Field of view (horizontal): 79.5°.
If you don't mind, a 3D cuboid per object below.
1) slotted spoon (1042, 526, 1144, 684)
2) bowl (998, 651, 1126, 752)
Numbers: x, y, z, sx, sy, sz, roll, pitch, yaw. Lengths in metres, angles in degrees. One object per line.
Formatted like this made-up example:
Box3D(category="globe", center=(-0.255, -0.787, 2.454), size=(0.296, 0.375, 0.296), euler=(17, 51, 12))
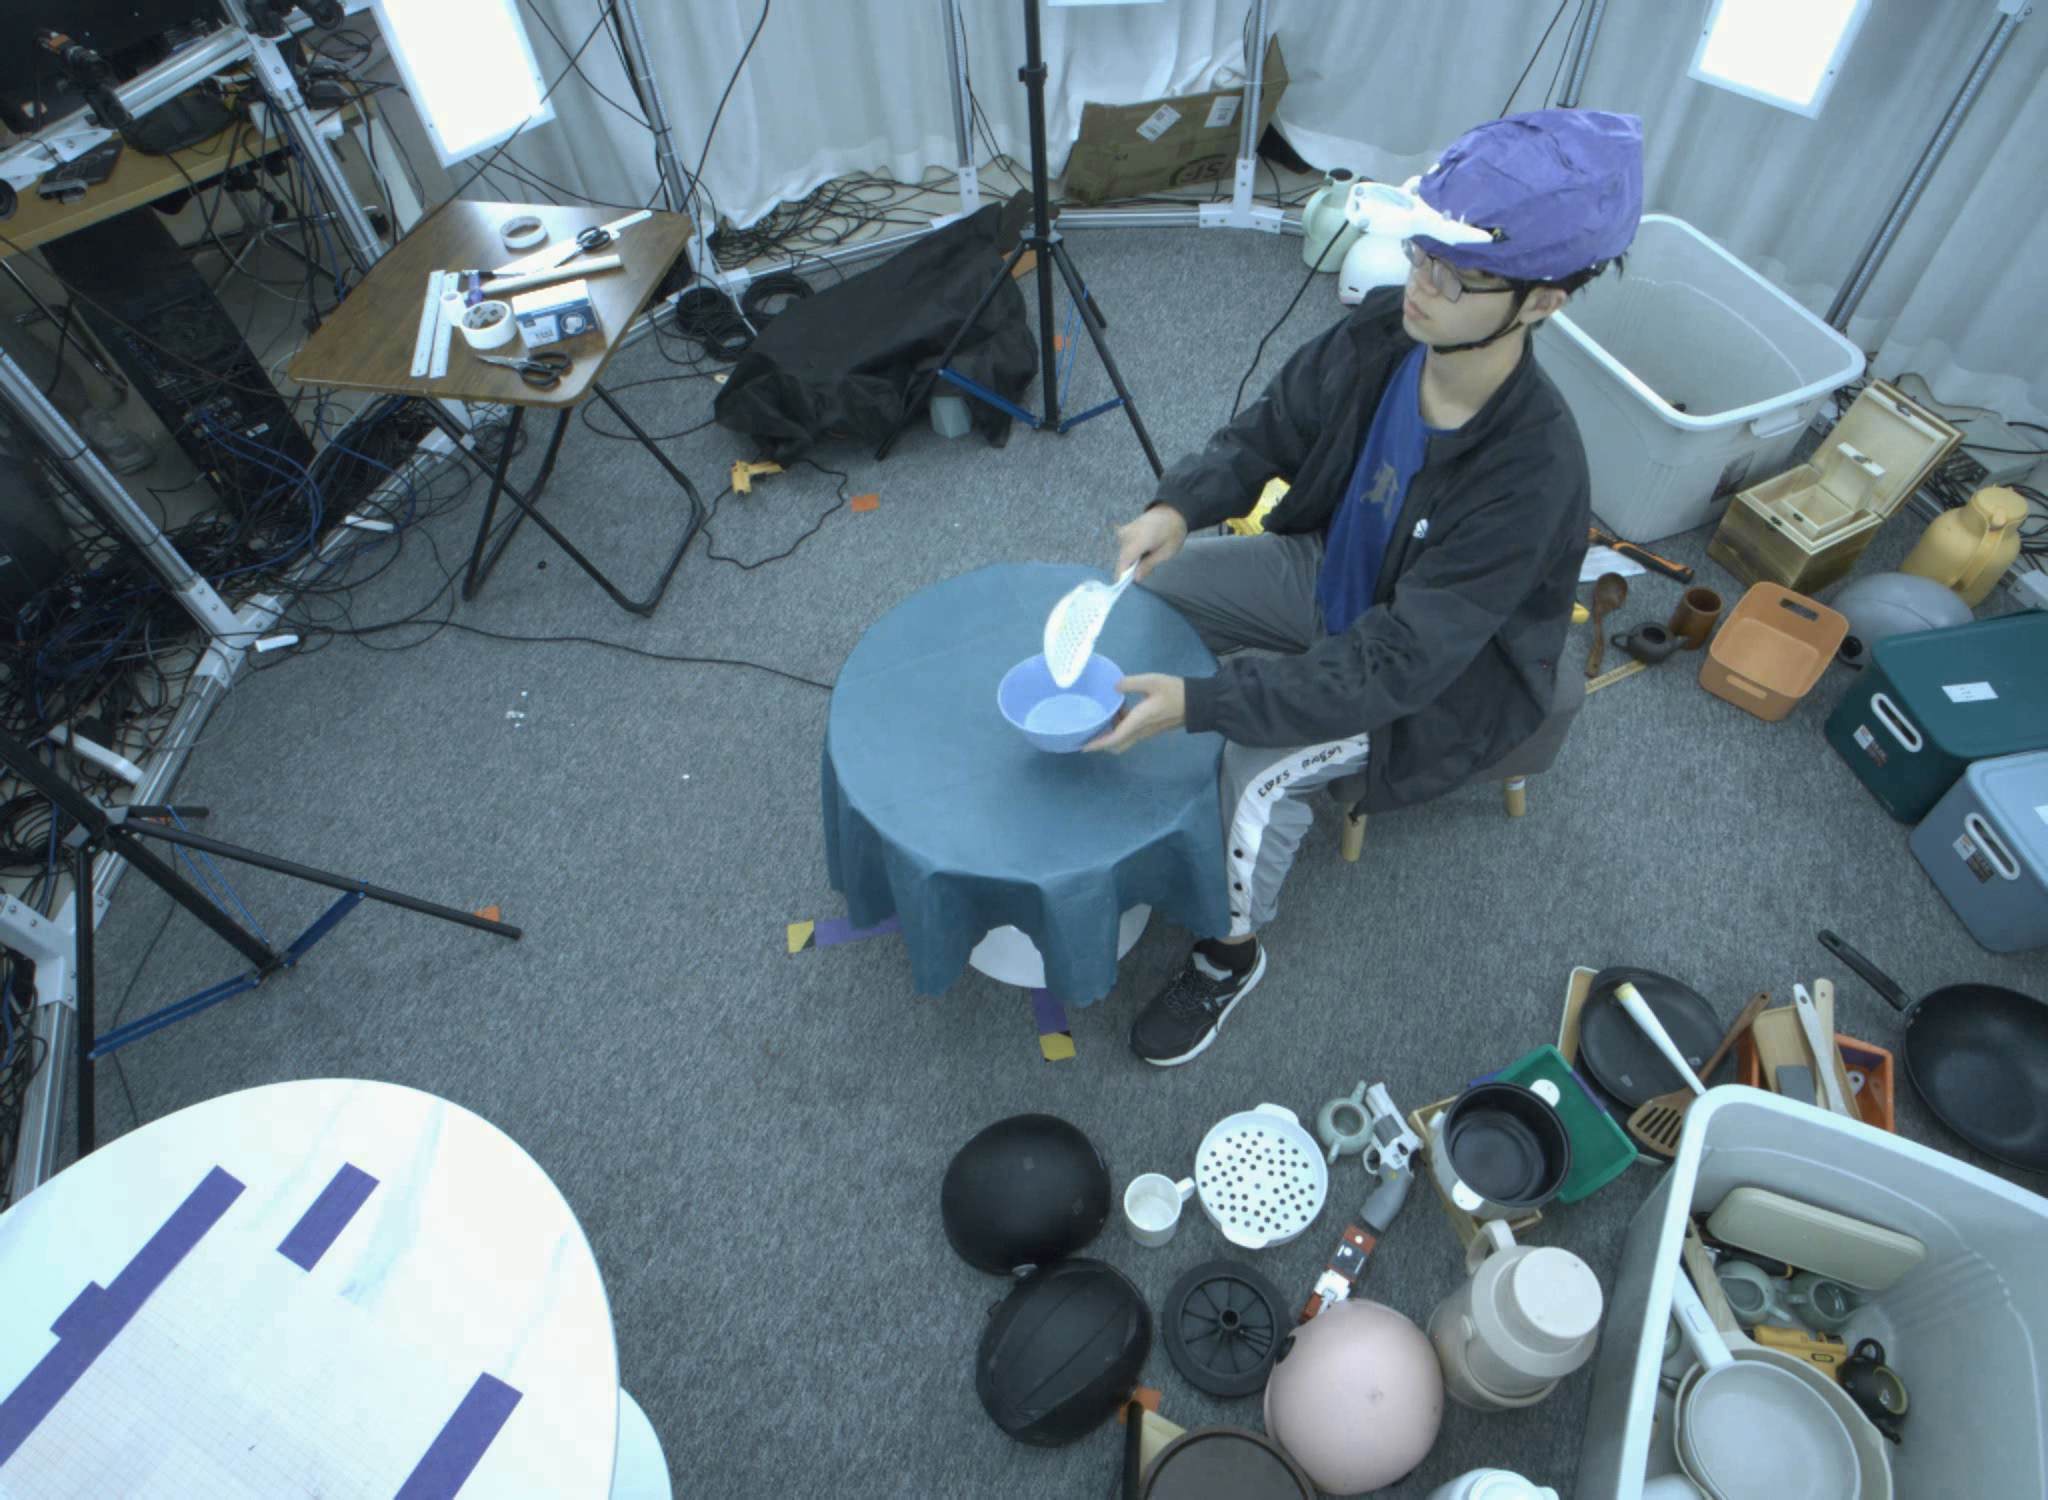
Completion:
Box3D(category="slotted spoon", center=(0.105, -0.217, 1.665), size=(0.049, 0.138, 0.350), euler=(16, 41, 26))
Box3D(category="bowl", center=(0.054, -0.059, 1.695), size=(0.175, 0.071, 0.174), euler=(-3, 44, 4))
